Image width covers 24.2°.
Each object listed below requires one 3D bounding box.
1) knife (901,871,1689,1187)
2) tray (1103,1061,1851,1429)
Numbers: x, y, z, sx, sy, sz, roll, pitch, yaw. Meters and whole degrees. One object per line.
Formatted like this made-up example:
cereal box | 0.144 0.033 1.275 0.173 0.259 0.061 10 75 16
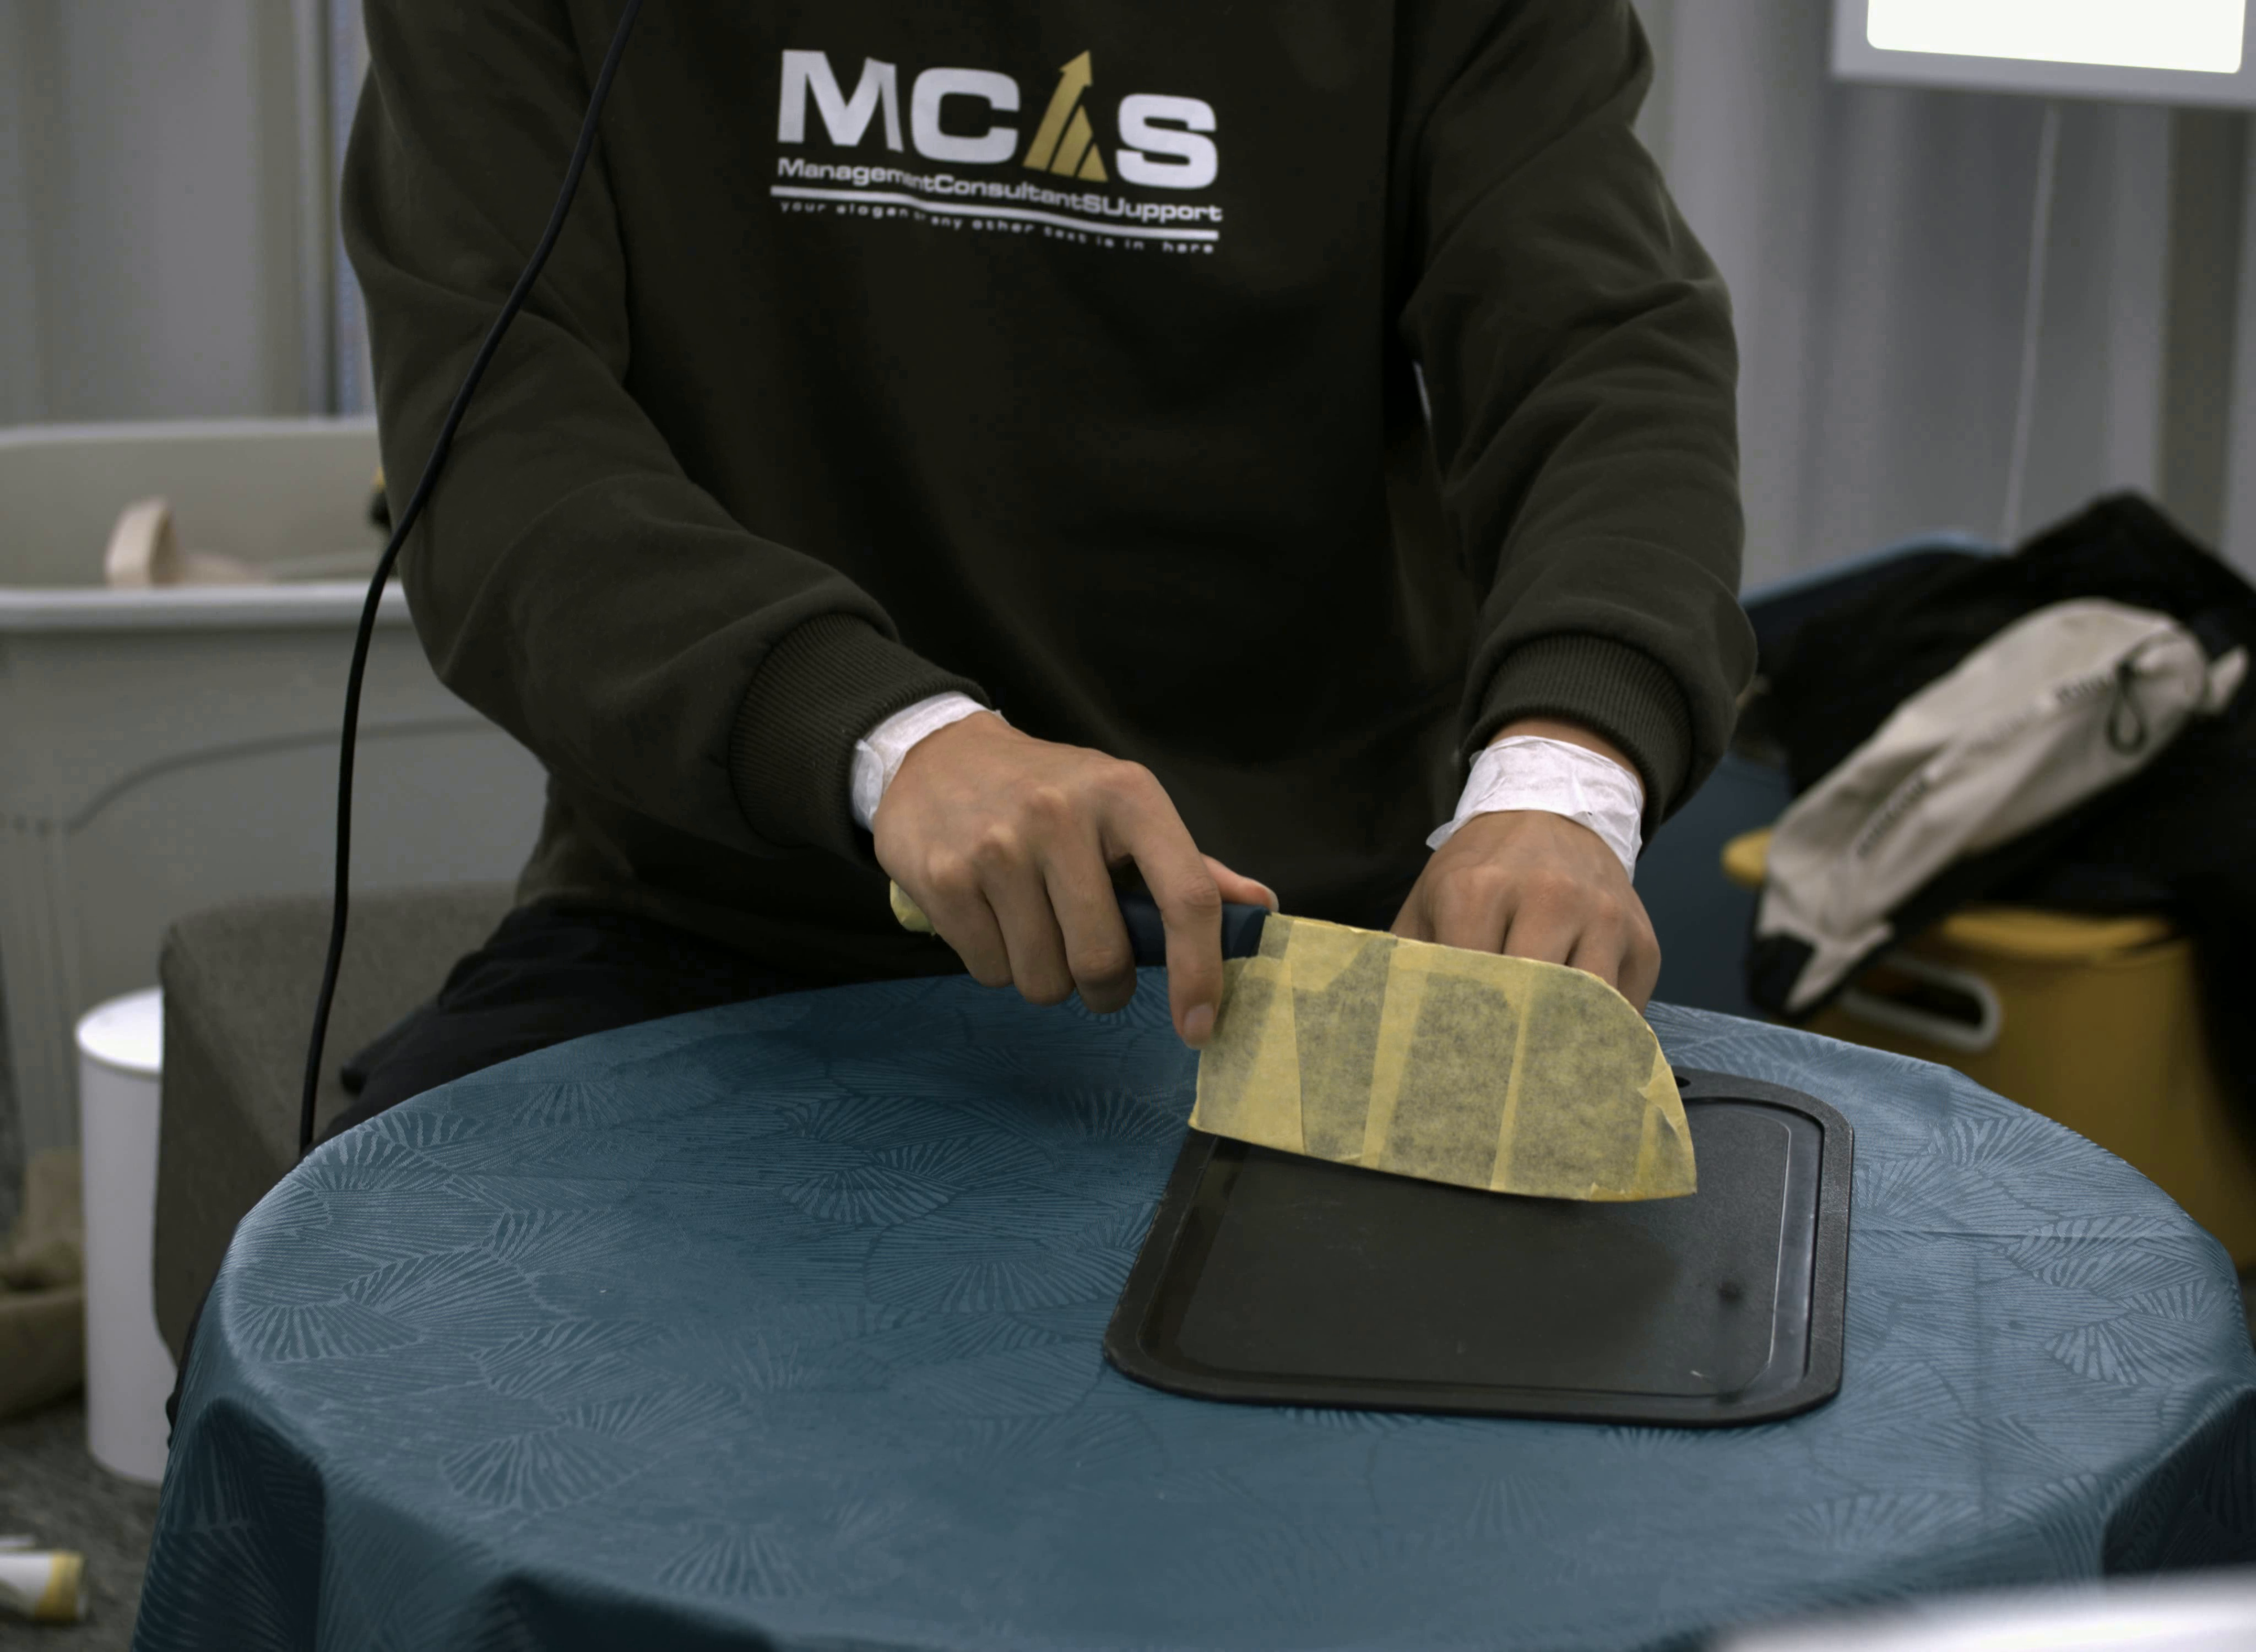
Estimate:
knife | 0.048 0.062 1.654 0.286 0.081 0.027 13 0 29
tray | 0.112 0.117 1.598 0.210 0.010 0.324 3 16 8
